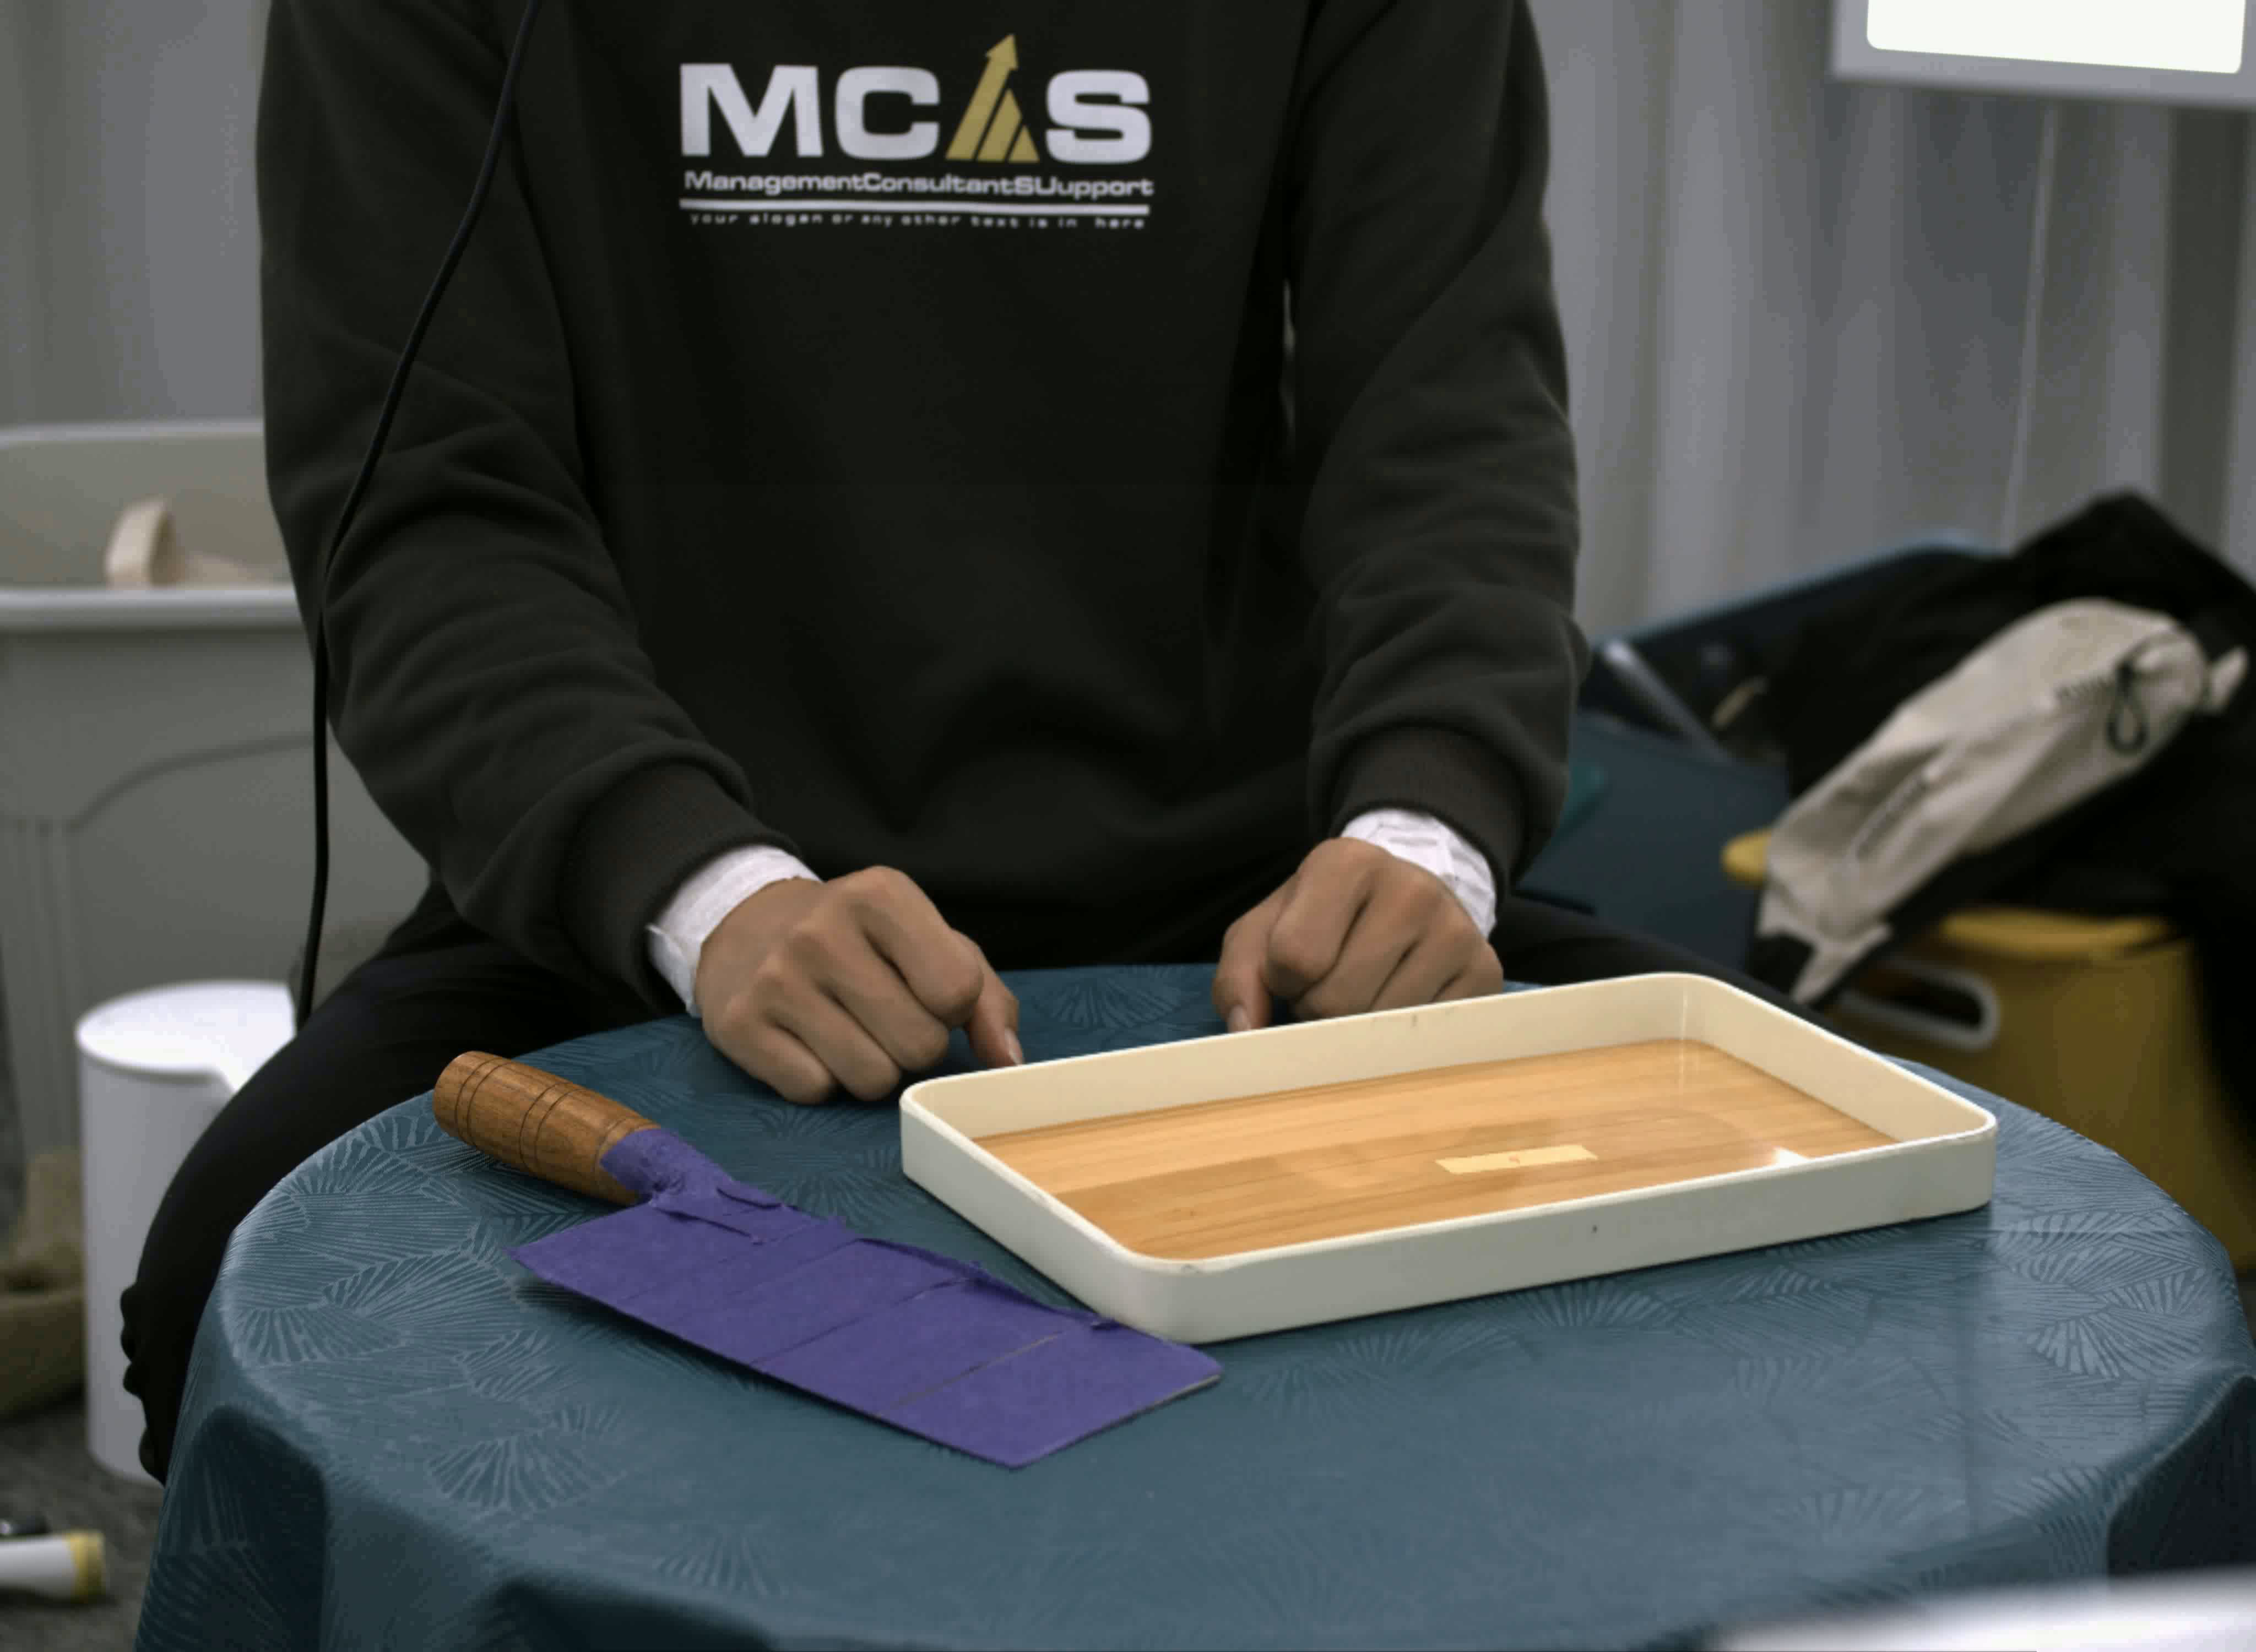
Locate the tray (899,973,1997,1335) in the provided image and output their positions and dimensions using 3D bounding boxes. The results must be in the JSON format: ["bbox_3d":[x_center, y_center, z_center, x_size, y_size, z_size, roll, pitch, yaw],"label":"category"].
[{"bbox_3d":[0.098,0.098,1.629,0.301,0.027,0.189,-7,16,-26],"label":"tray"}]

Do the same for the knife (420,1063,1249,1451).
[{"bbox_3d":[-0.114,0.123,1.531,0.311,0.032,0.104,14,19,38],"label":"knife"}]
